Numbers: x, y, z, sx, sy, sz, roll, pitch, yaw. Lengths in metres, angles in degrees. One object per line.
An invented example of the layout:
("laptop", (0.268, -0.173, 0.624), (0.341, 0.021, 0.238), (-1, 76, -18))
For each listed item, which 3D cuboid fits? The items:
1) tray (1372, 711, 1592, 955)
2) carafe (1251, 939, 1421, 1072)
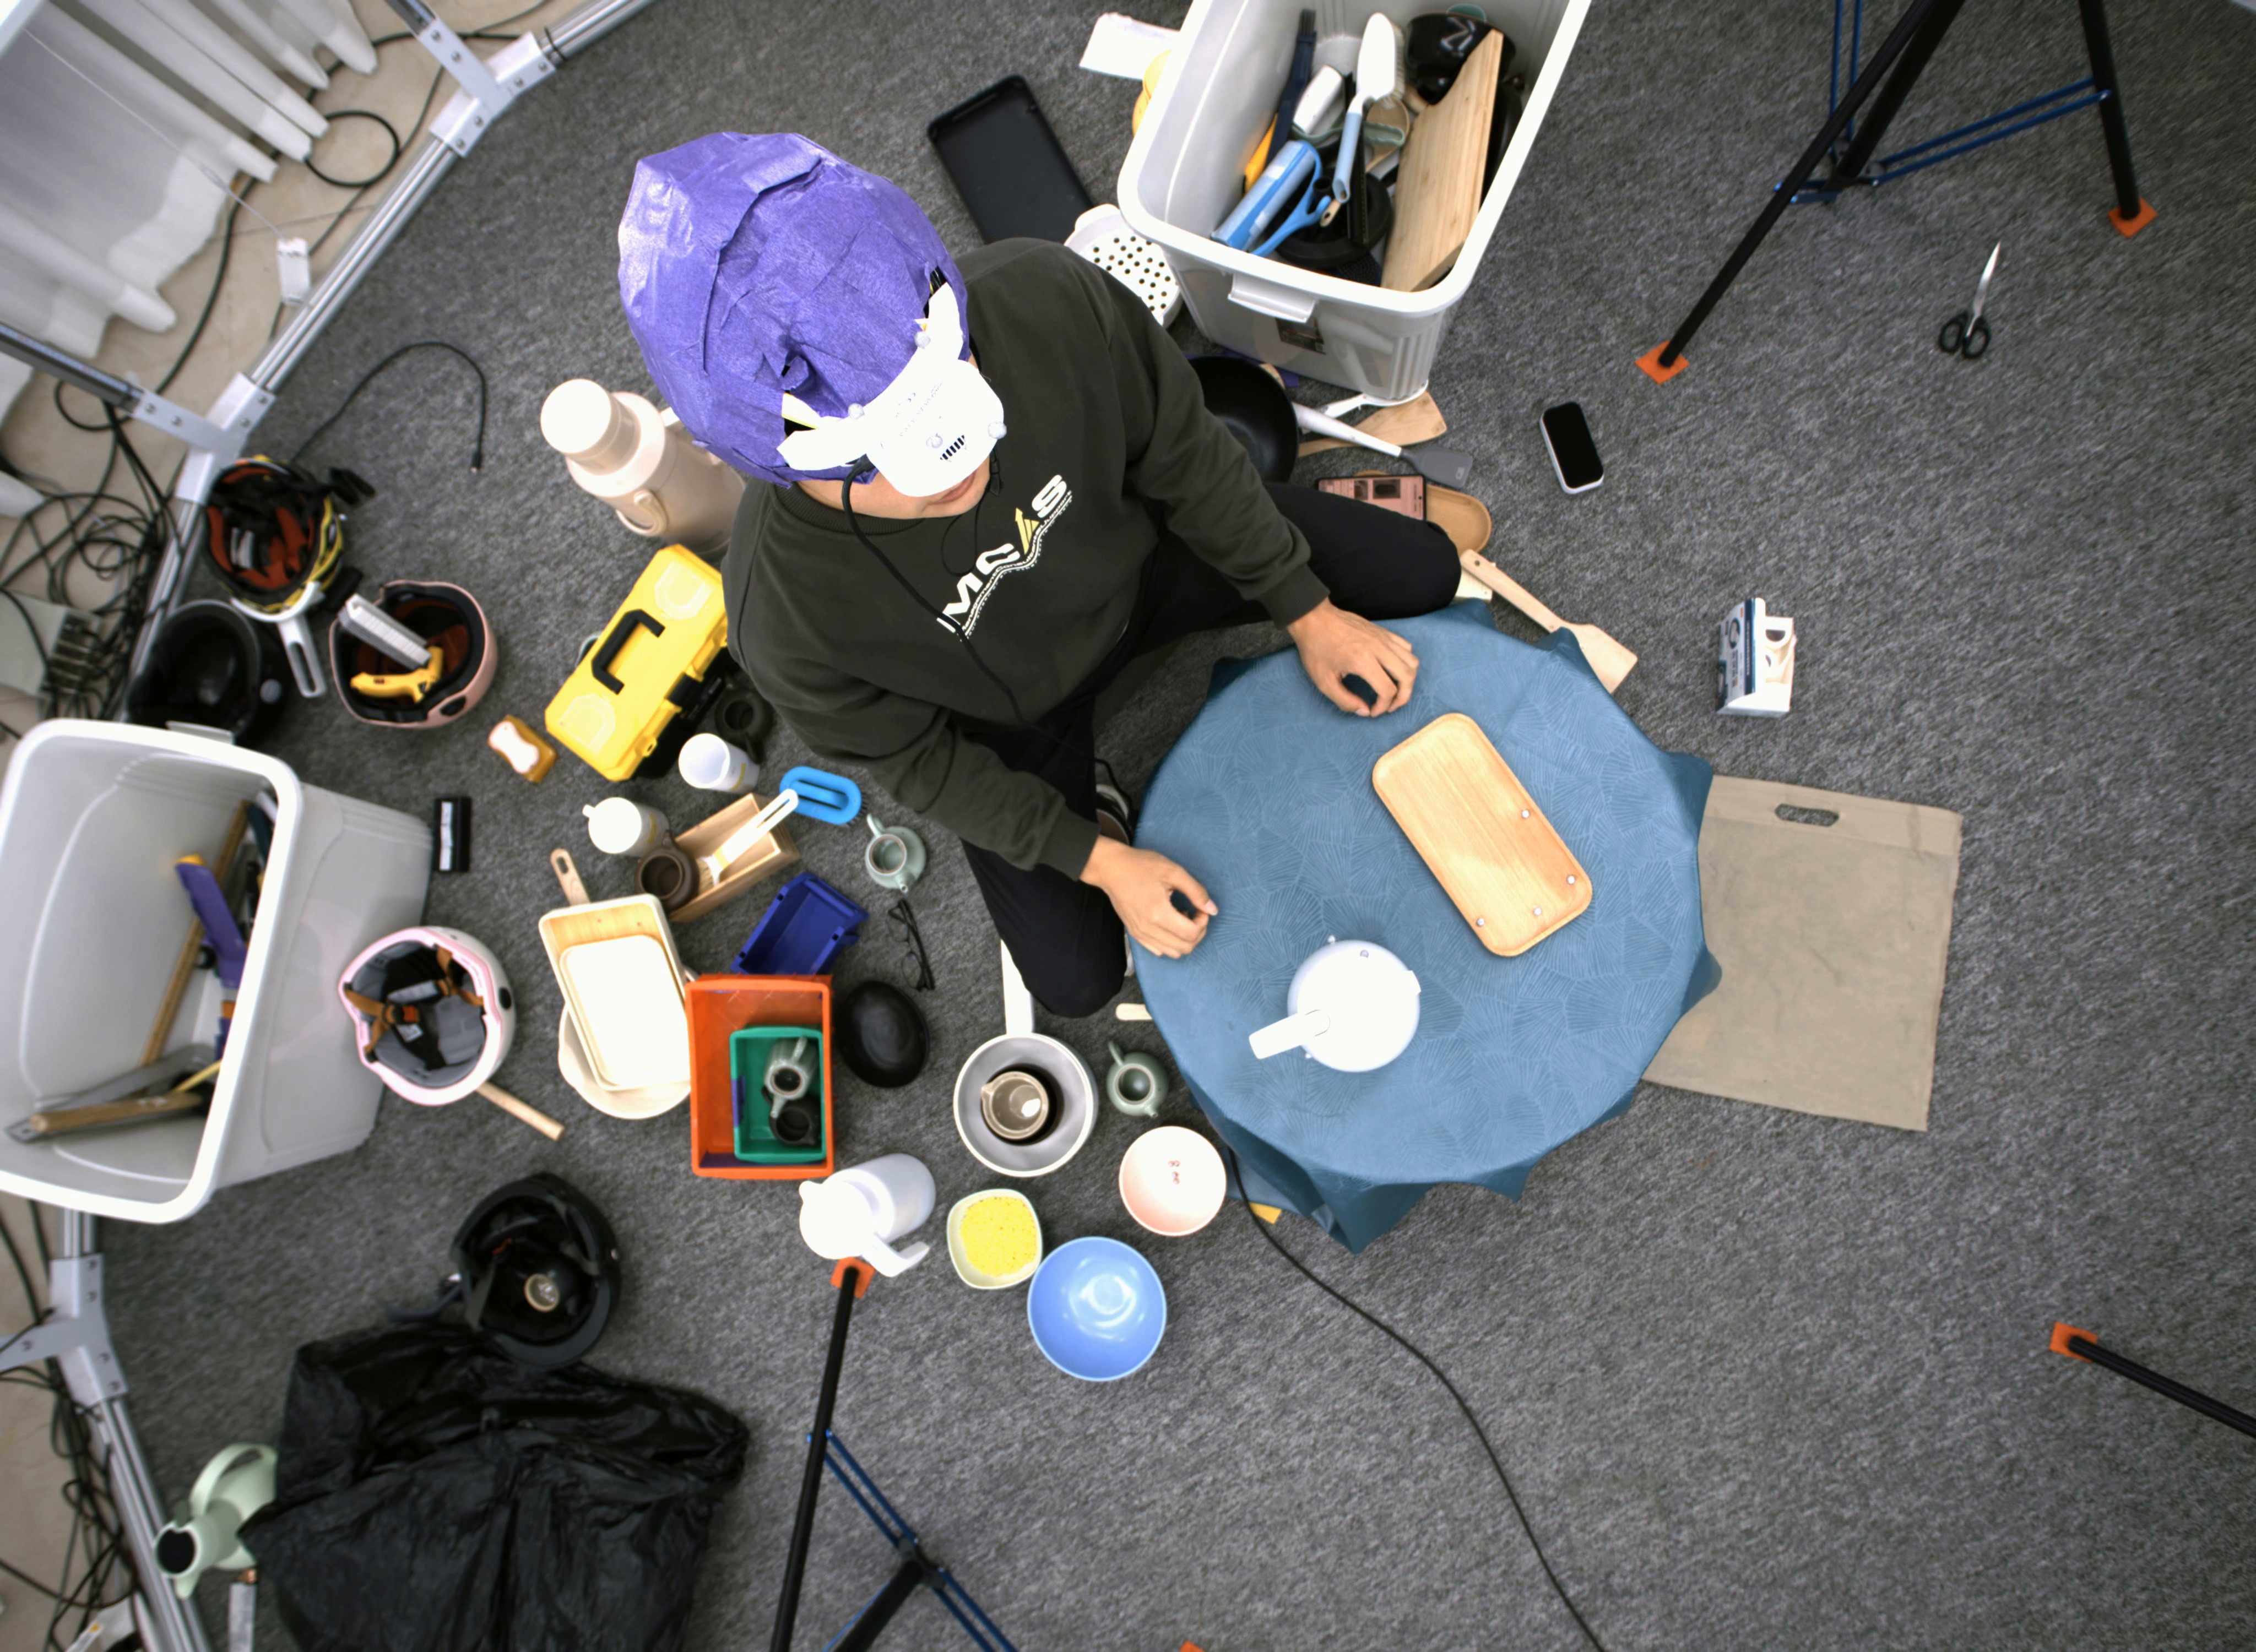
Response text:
("tray", (0.368, 0.004, 1.437), (0.131, 0.023, 0.249), (-33, 80, 5))
("carafe", (0.201, 0.182, 1.339), (0.168, 0.249, 0.131), (-25, 81, 7))
